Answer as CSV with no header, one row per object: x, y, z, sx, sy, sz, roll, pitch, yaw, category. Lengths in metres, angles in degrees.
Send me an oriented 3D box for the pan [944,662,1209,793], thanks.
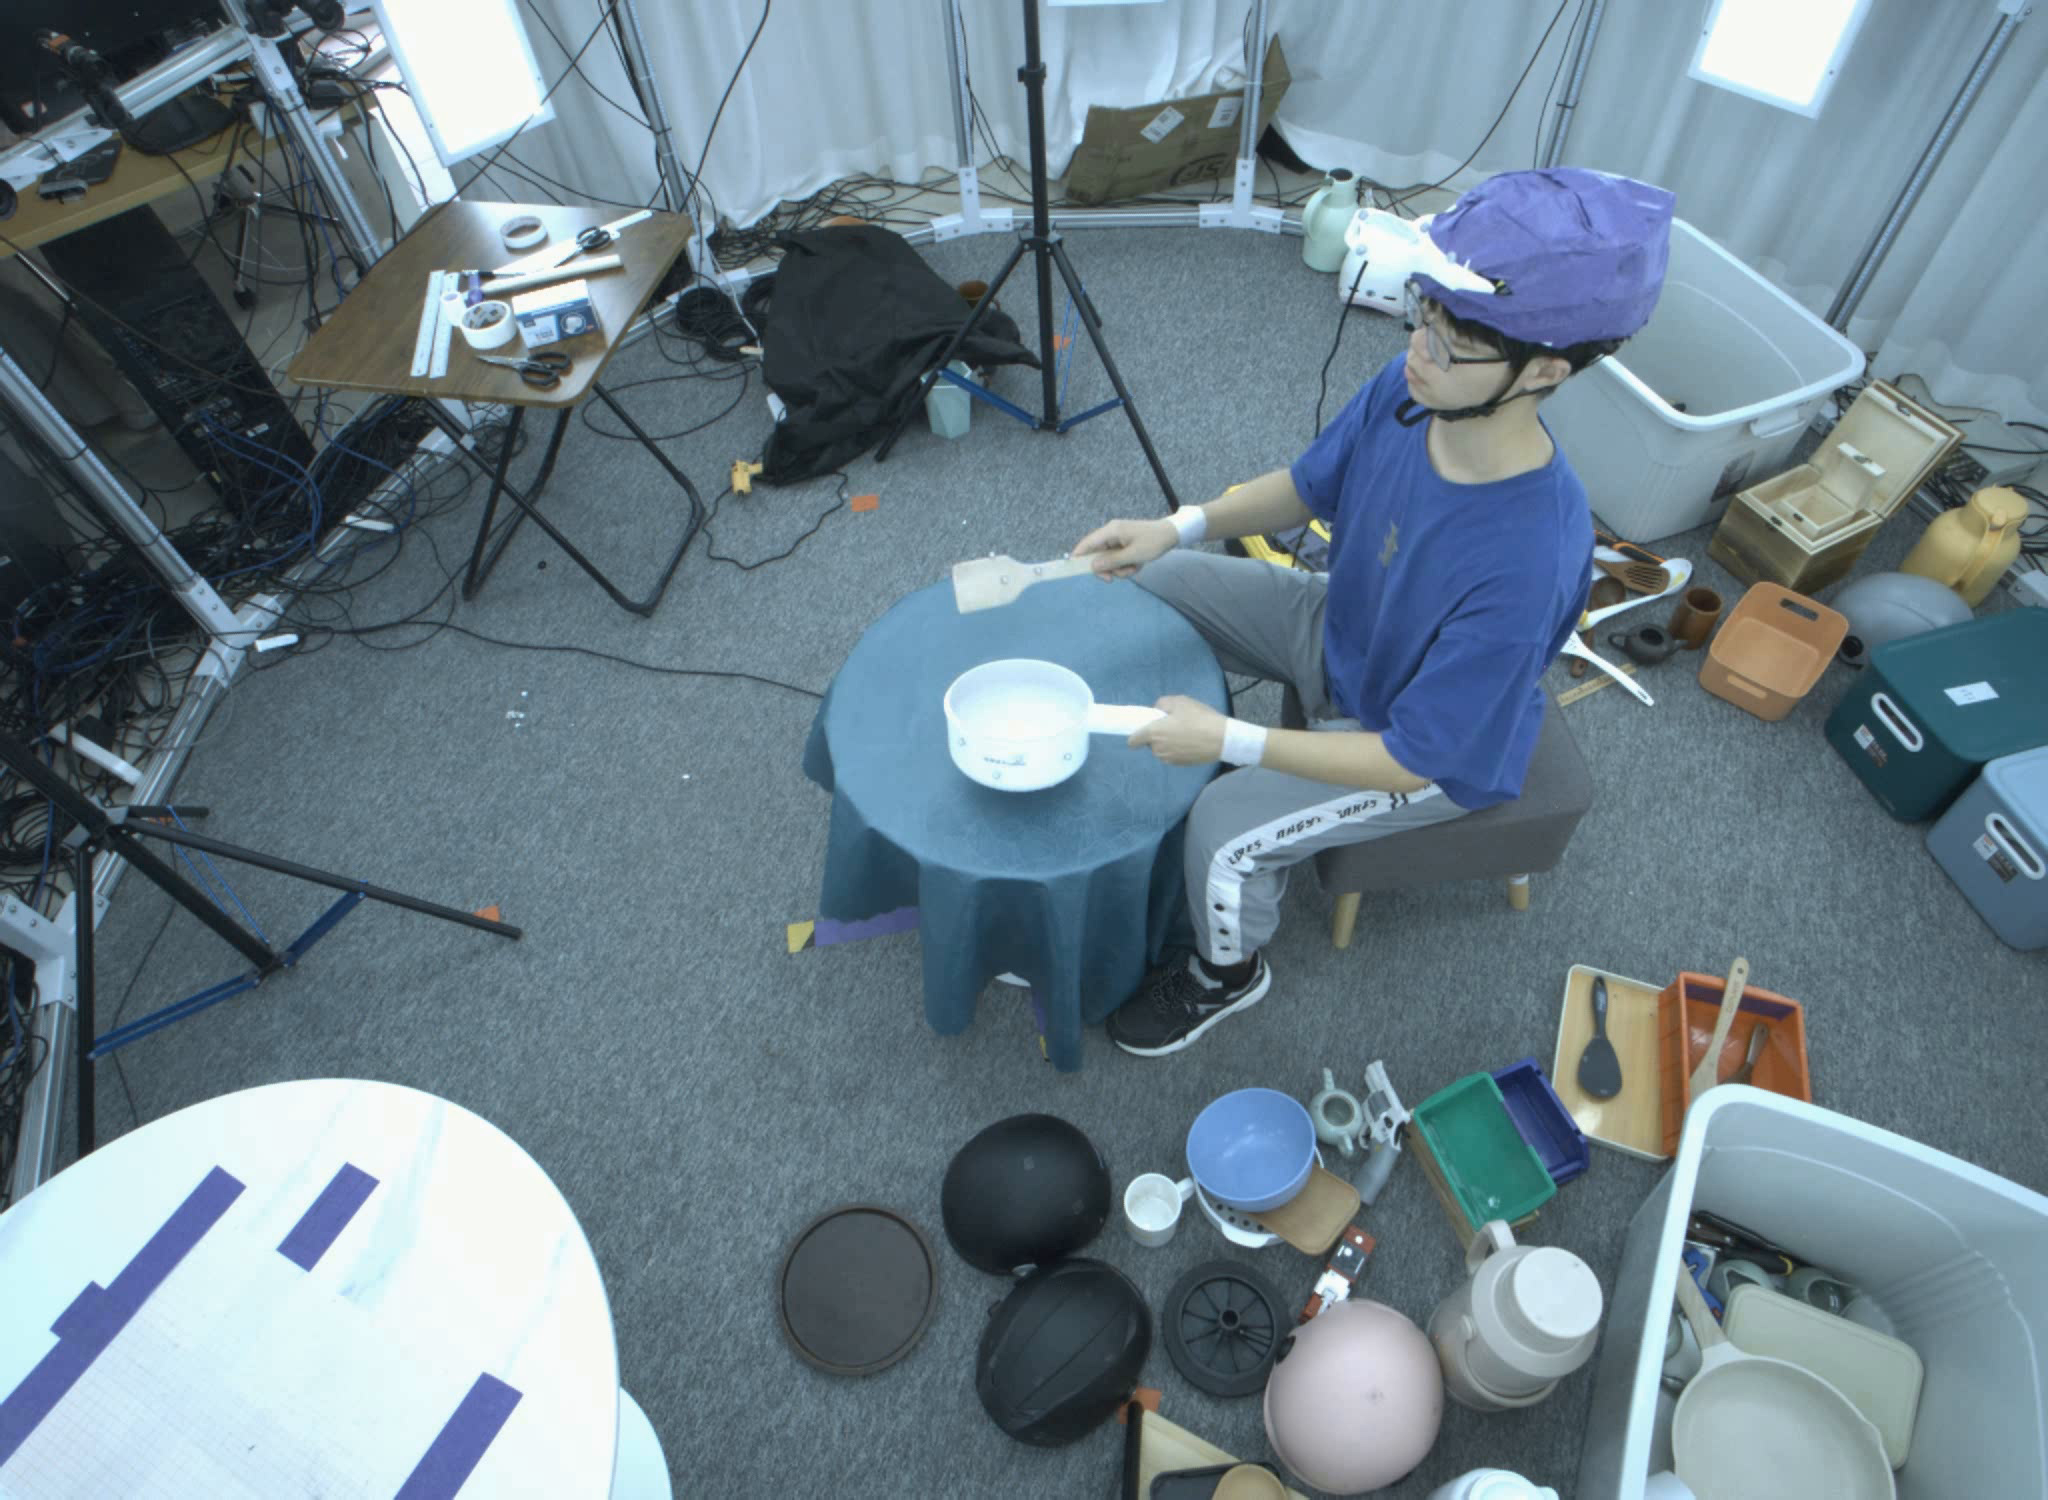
0.069,-0.020,1.664,0.353,0.103,0.200,5,35,6,pan

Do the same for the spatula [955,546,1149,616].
0.043,-0.254,1.750,0.296,0.073,0.010,-14,19,-17,spatula
